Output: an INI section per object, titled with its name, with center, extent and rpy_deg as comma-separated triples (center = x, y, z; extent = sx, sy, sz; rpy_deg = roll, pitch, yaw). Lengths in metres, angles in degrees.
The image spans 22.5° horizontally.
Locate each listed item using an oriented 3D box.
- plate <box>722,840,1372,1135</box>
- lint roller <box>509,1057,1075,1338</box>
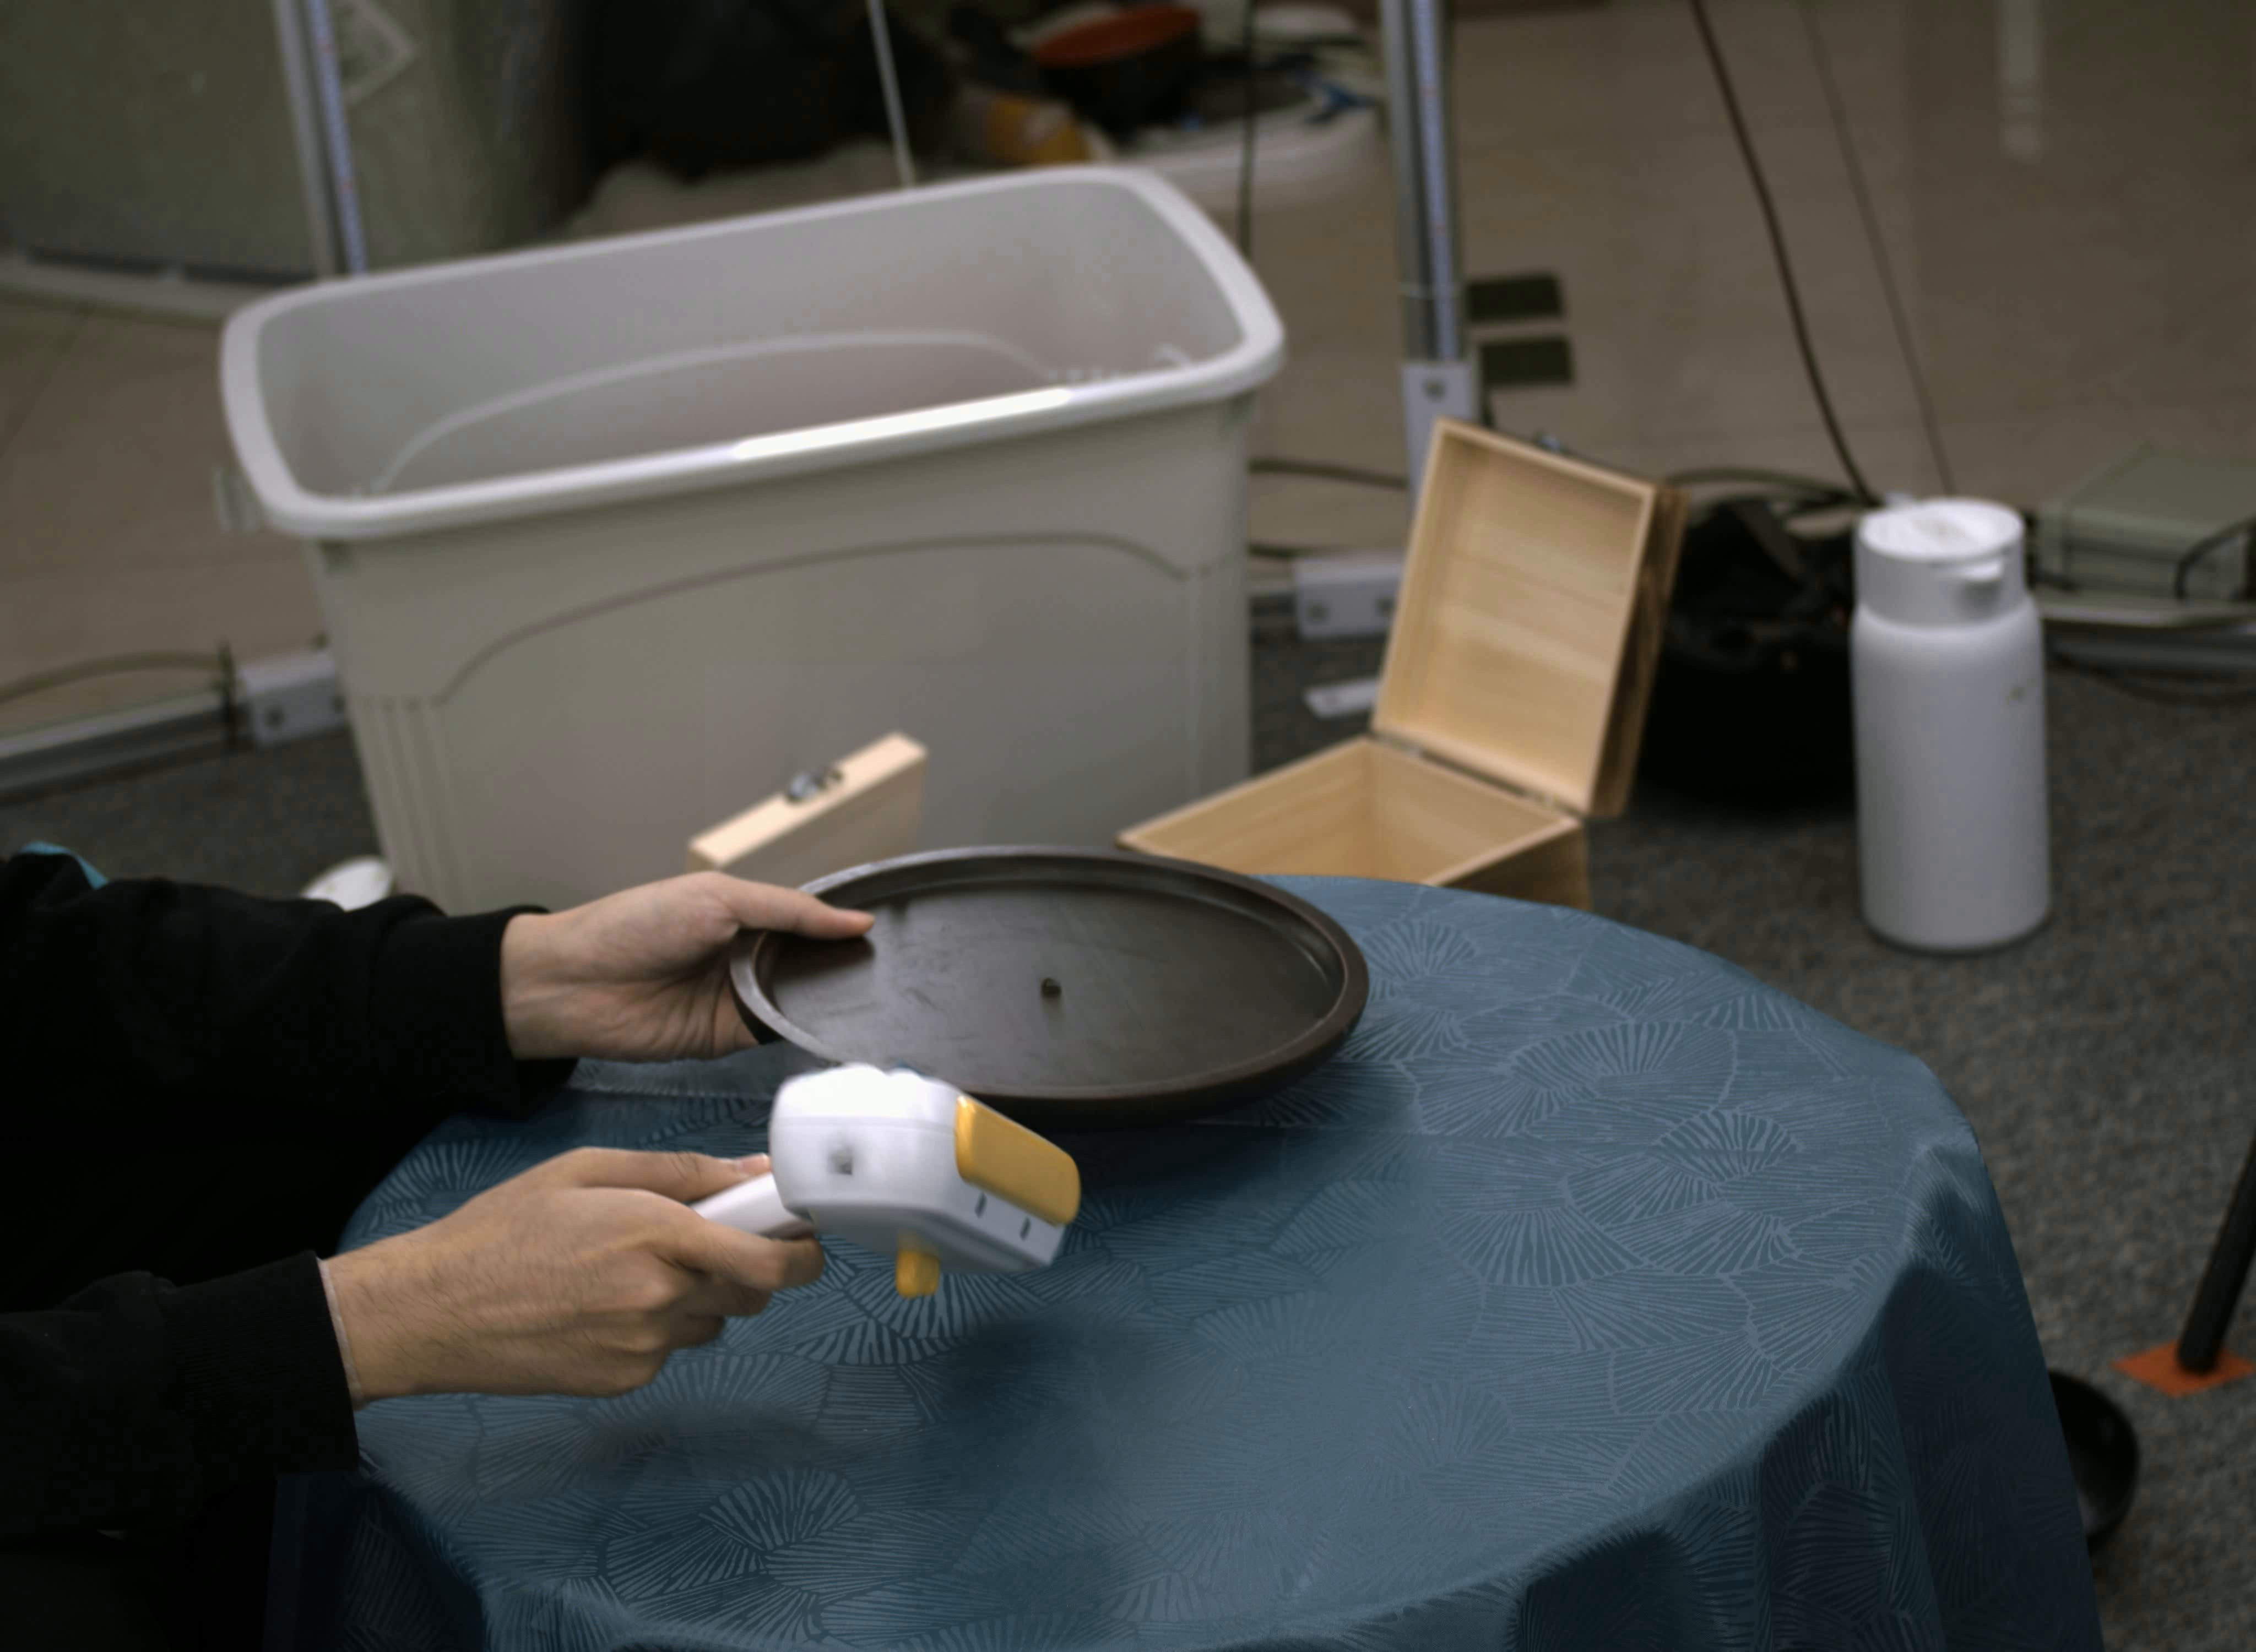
[plate]
center = -0.032, 0.062, 2.219
extent = 0.254, 0.029, 0.251
rpy_deg = 0, 21, 0
[lint roller]
center = -0.129, 0.135, 1.983
extent = 0.192, 0.074, 0.193
rpy_deg = -11, -10, 16
